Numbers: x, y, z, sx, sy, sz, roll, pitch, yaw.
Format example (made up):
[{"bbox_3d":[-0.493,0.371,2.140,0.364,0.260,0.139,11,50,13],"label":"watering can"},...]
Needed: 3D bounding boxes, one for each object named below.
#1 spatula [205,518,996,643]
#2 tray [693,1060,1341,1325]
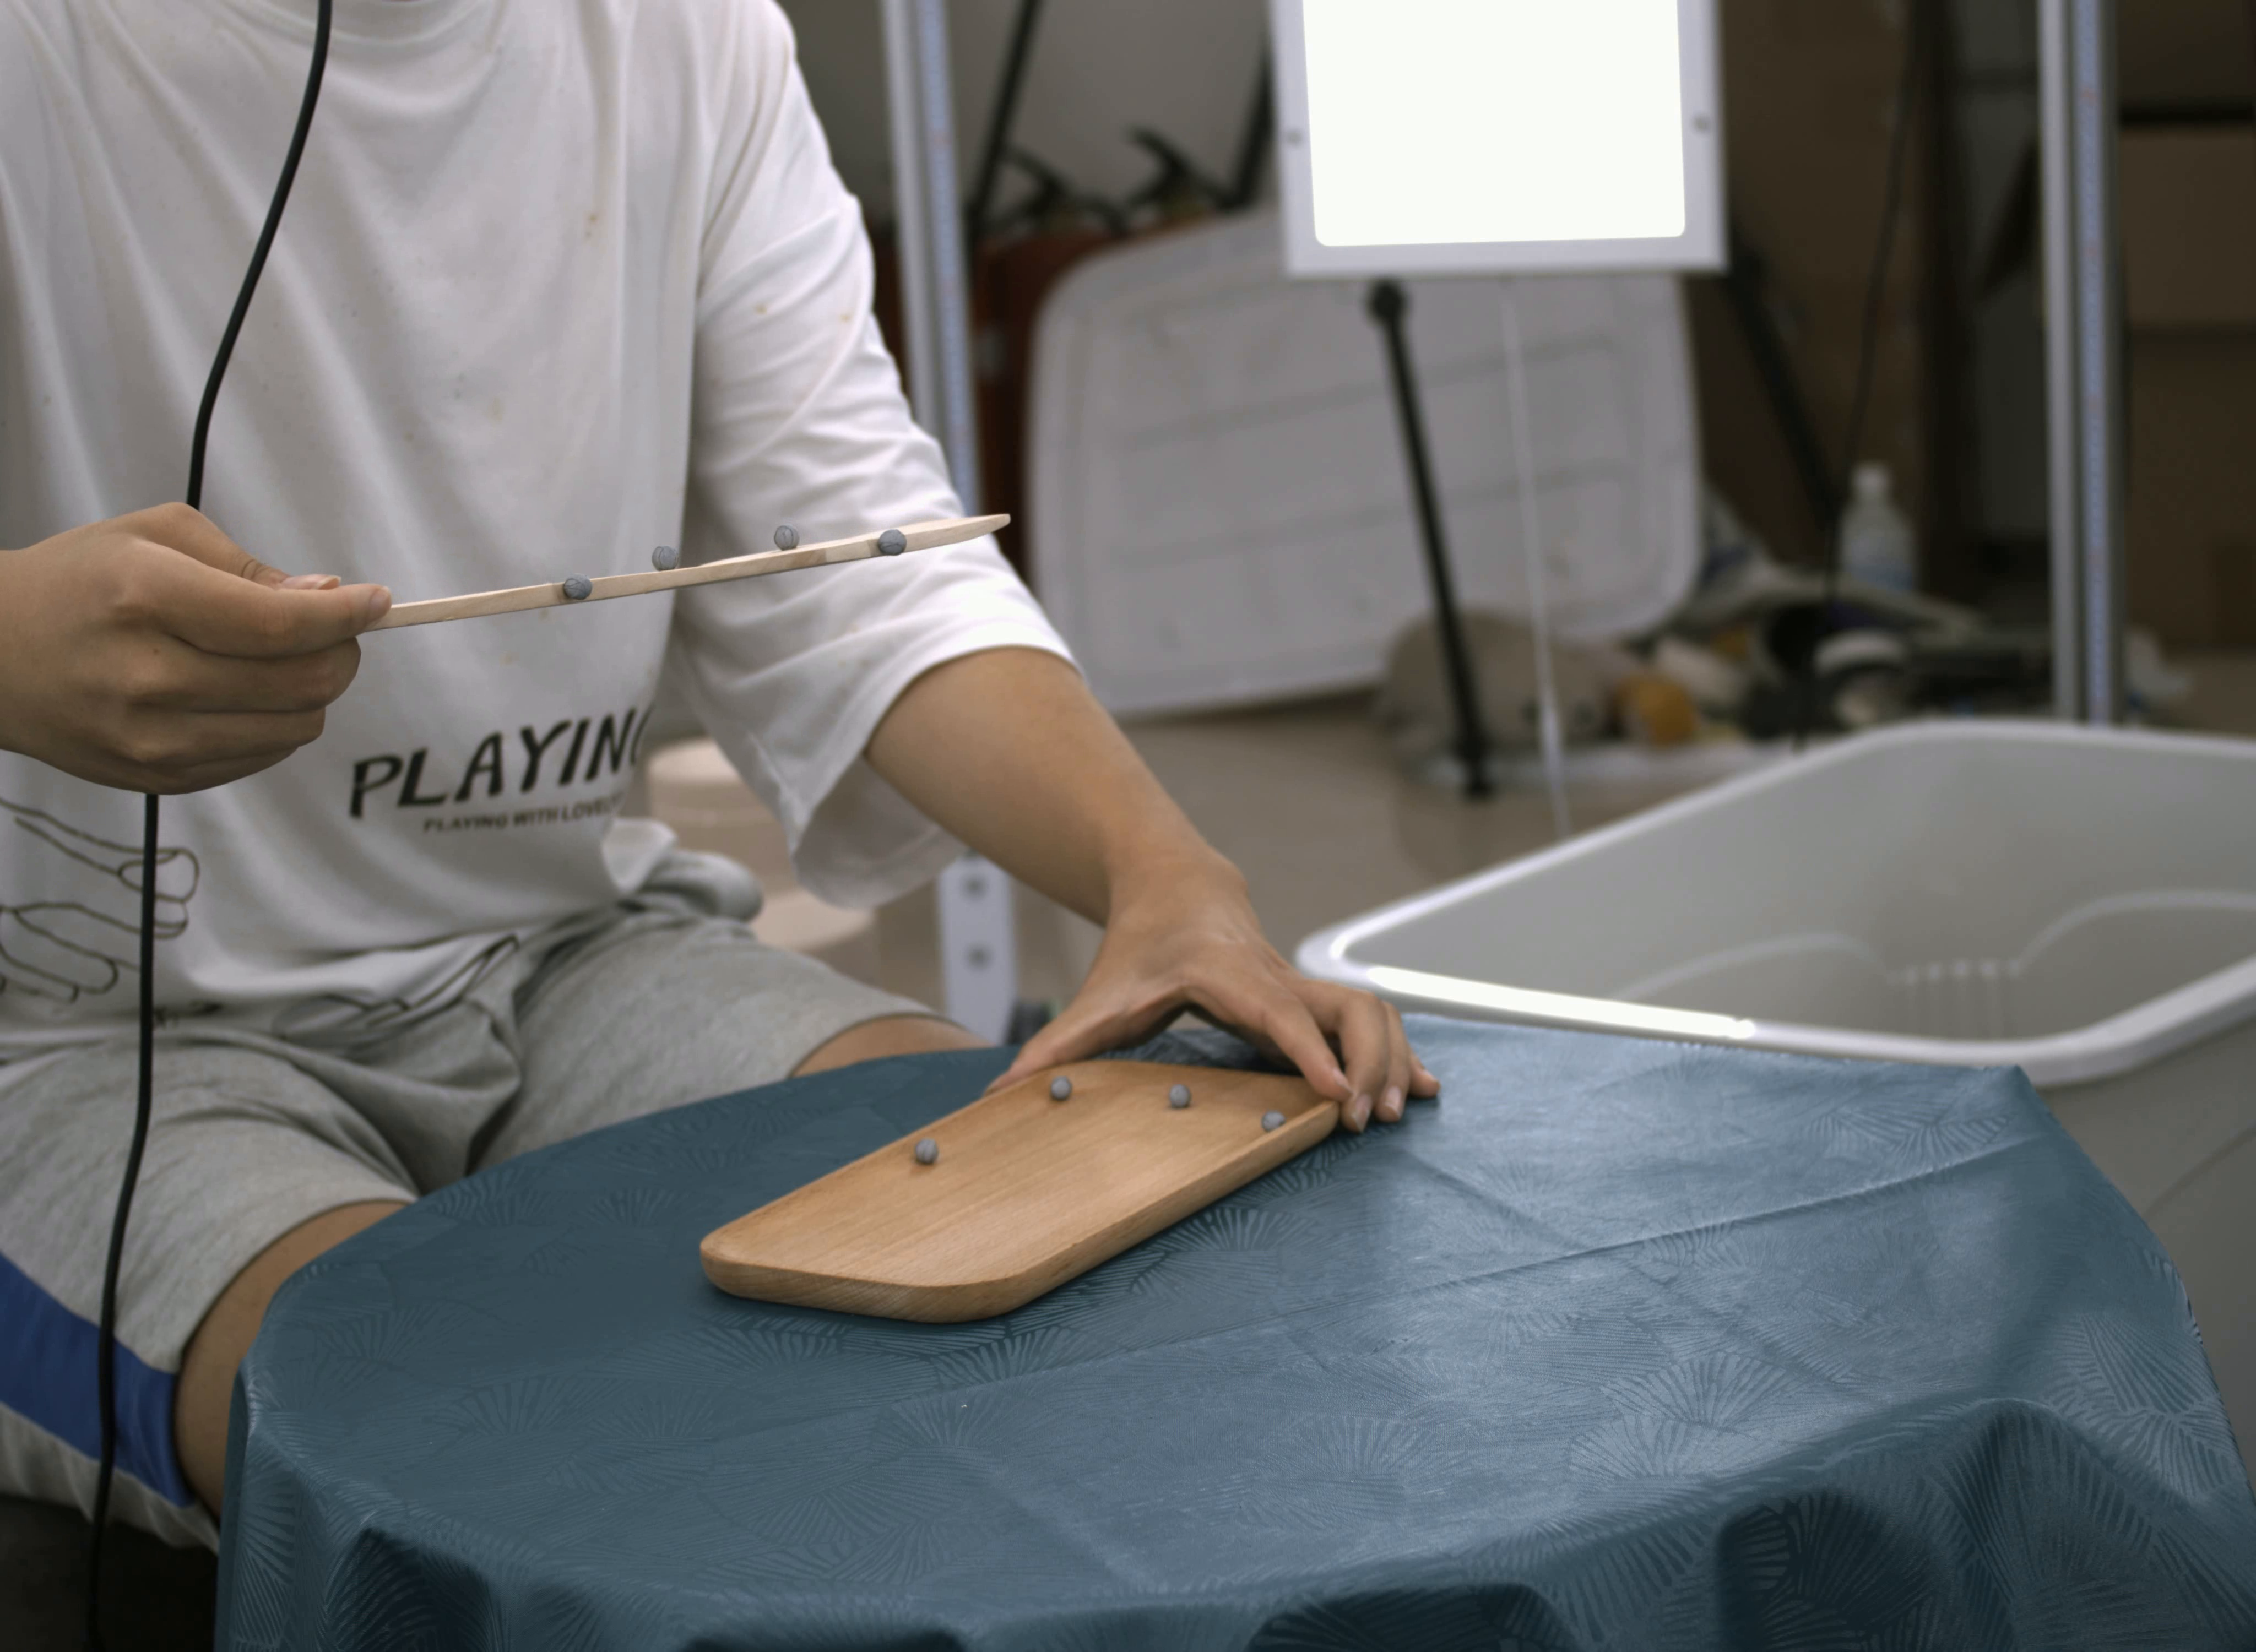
[{"bbox_3d":[-0.167,-0.077,1.748,0.285,0.011,0.074,-11,5,-42],"label":"spatula"},{"bbox_3d":[-0.034,0.124,1.893,0.133,0.023,0.244,2,15,36],"label":"tray"}]
